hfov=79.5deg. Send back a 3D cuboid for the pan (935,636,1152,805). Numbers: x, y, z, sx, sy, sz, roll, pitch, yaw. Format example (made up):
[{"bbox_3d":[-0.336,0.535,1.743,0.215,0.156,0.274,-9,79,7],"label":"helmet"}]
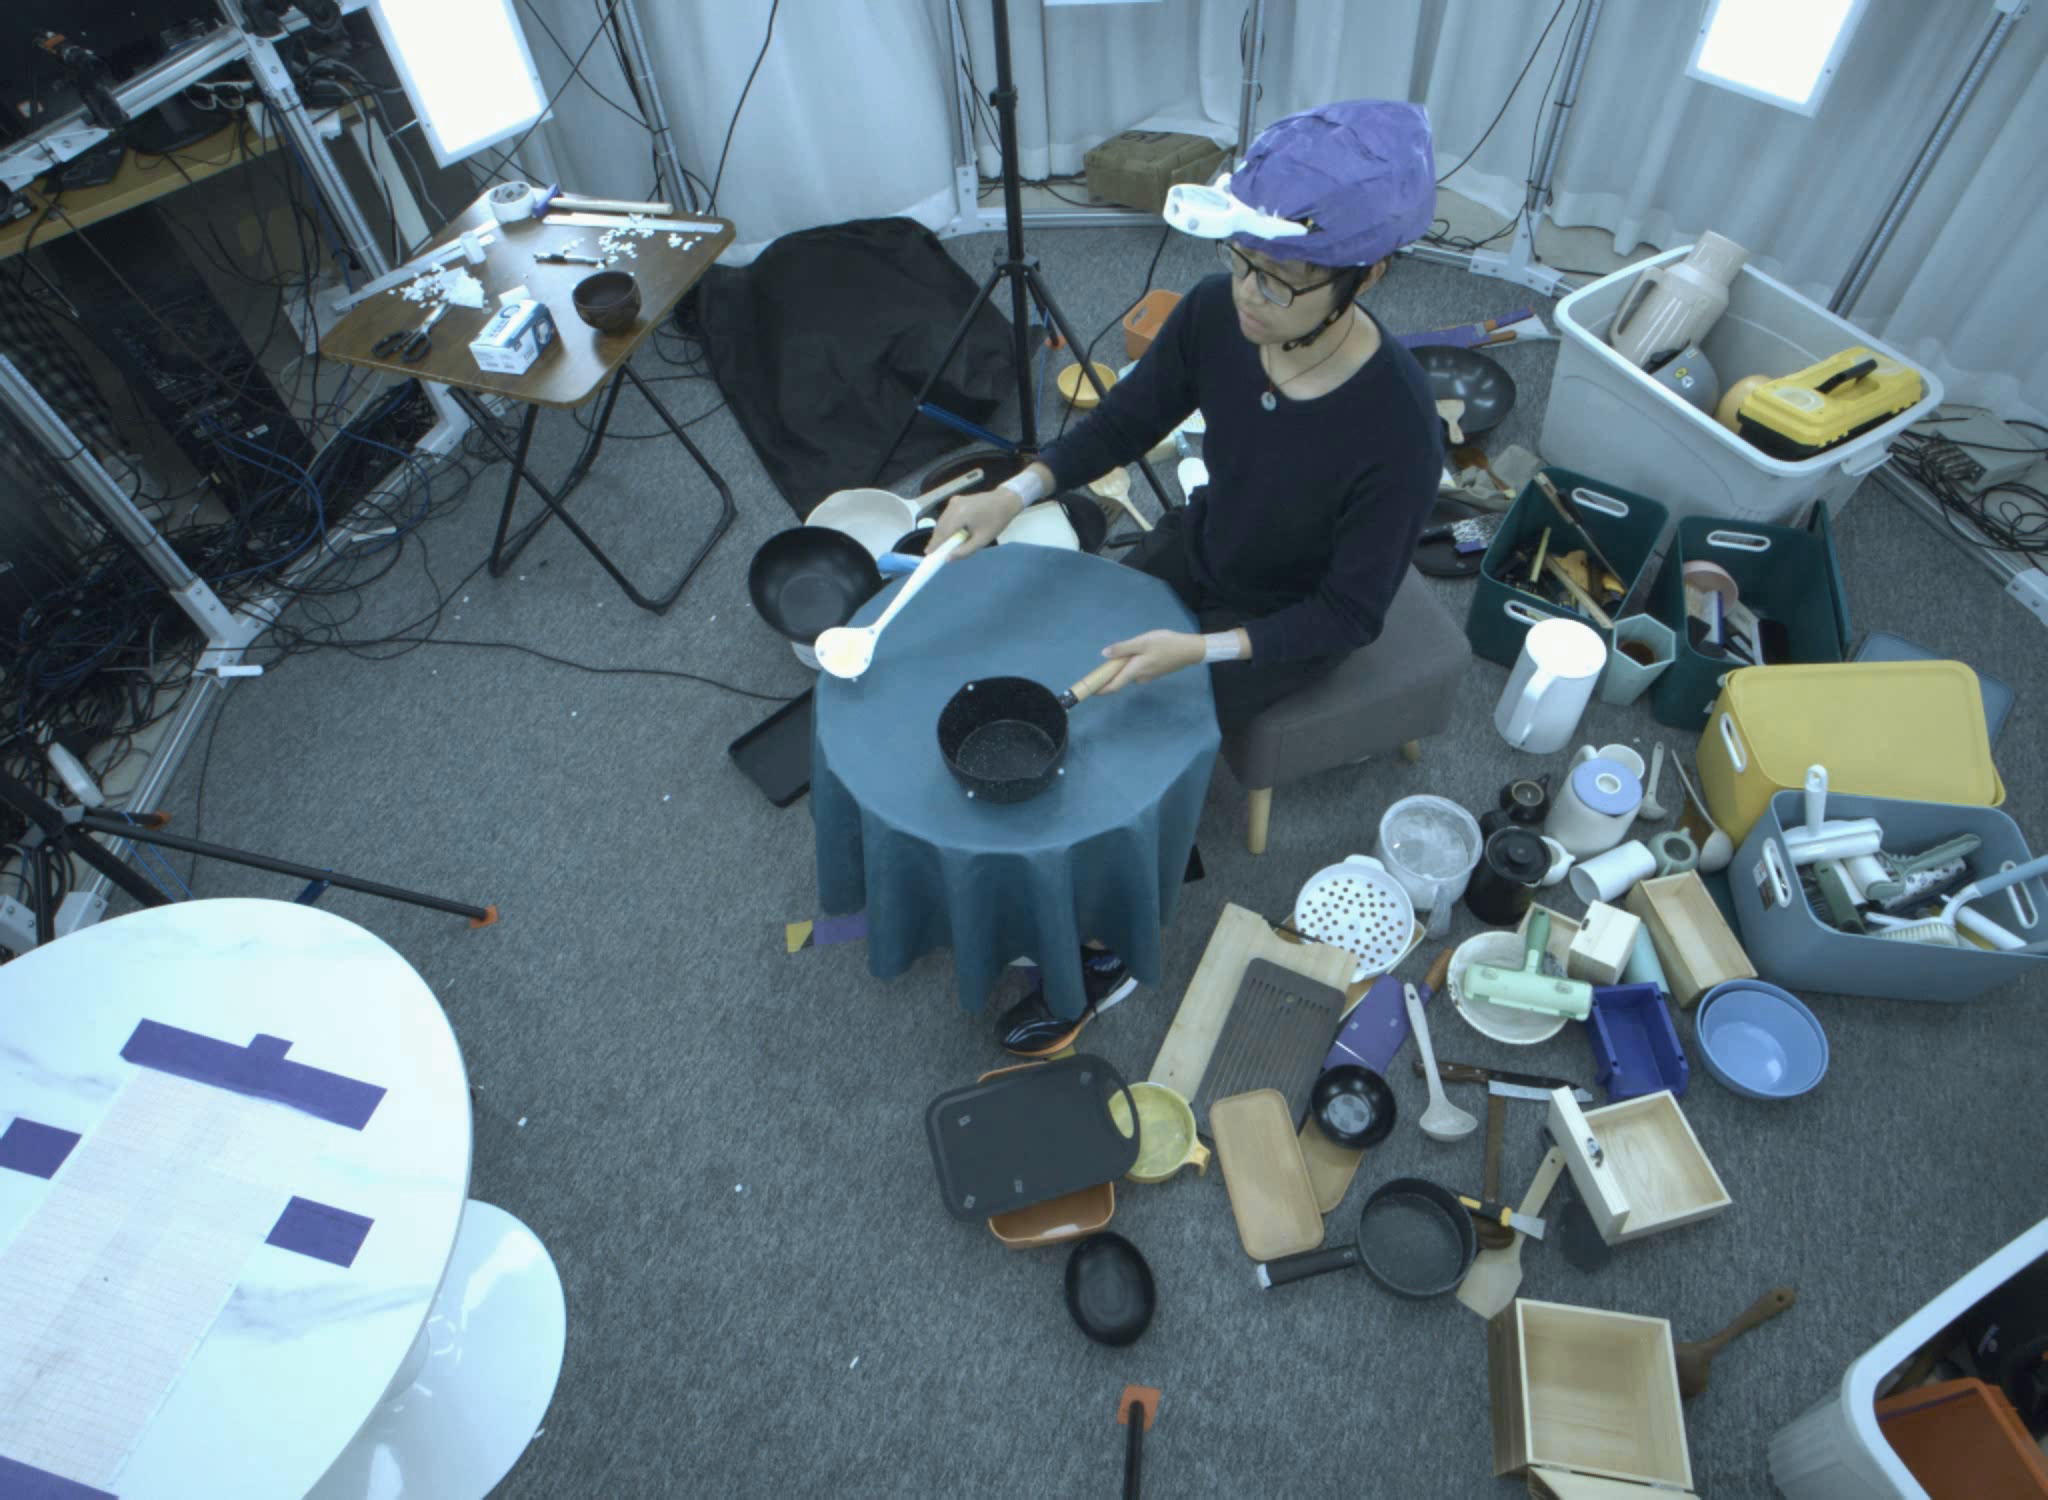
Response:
[{"bbox_3d":[0.038,-0.052,1.756,0.345,0.109,0.203,-30,58,-16],"label":"pan"}]

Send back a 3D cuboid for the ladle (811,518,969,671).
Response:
[{"bbox_3d":[-0.199,-0.235,1.819,0.292,0.071,0.089,-46,67,13],"label":"ladle"}]
